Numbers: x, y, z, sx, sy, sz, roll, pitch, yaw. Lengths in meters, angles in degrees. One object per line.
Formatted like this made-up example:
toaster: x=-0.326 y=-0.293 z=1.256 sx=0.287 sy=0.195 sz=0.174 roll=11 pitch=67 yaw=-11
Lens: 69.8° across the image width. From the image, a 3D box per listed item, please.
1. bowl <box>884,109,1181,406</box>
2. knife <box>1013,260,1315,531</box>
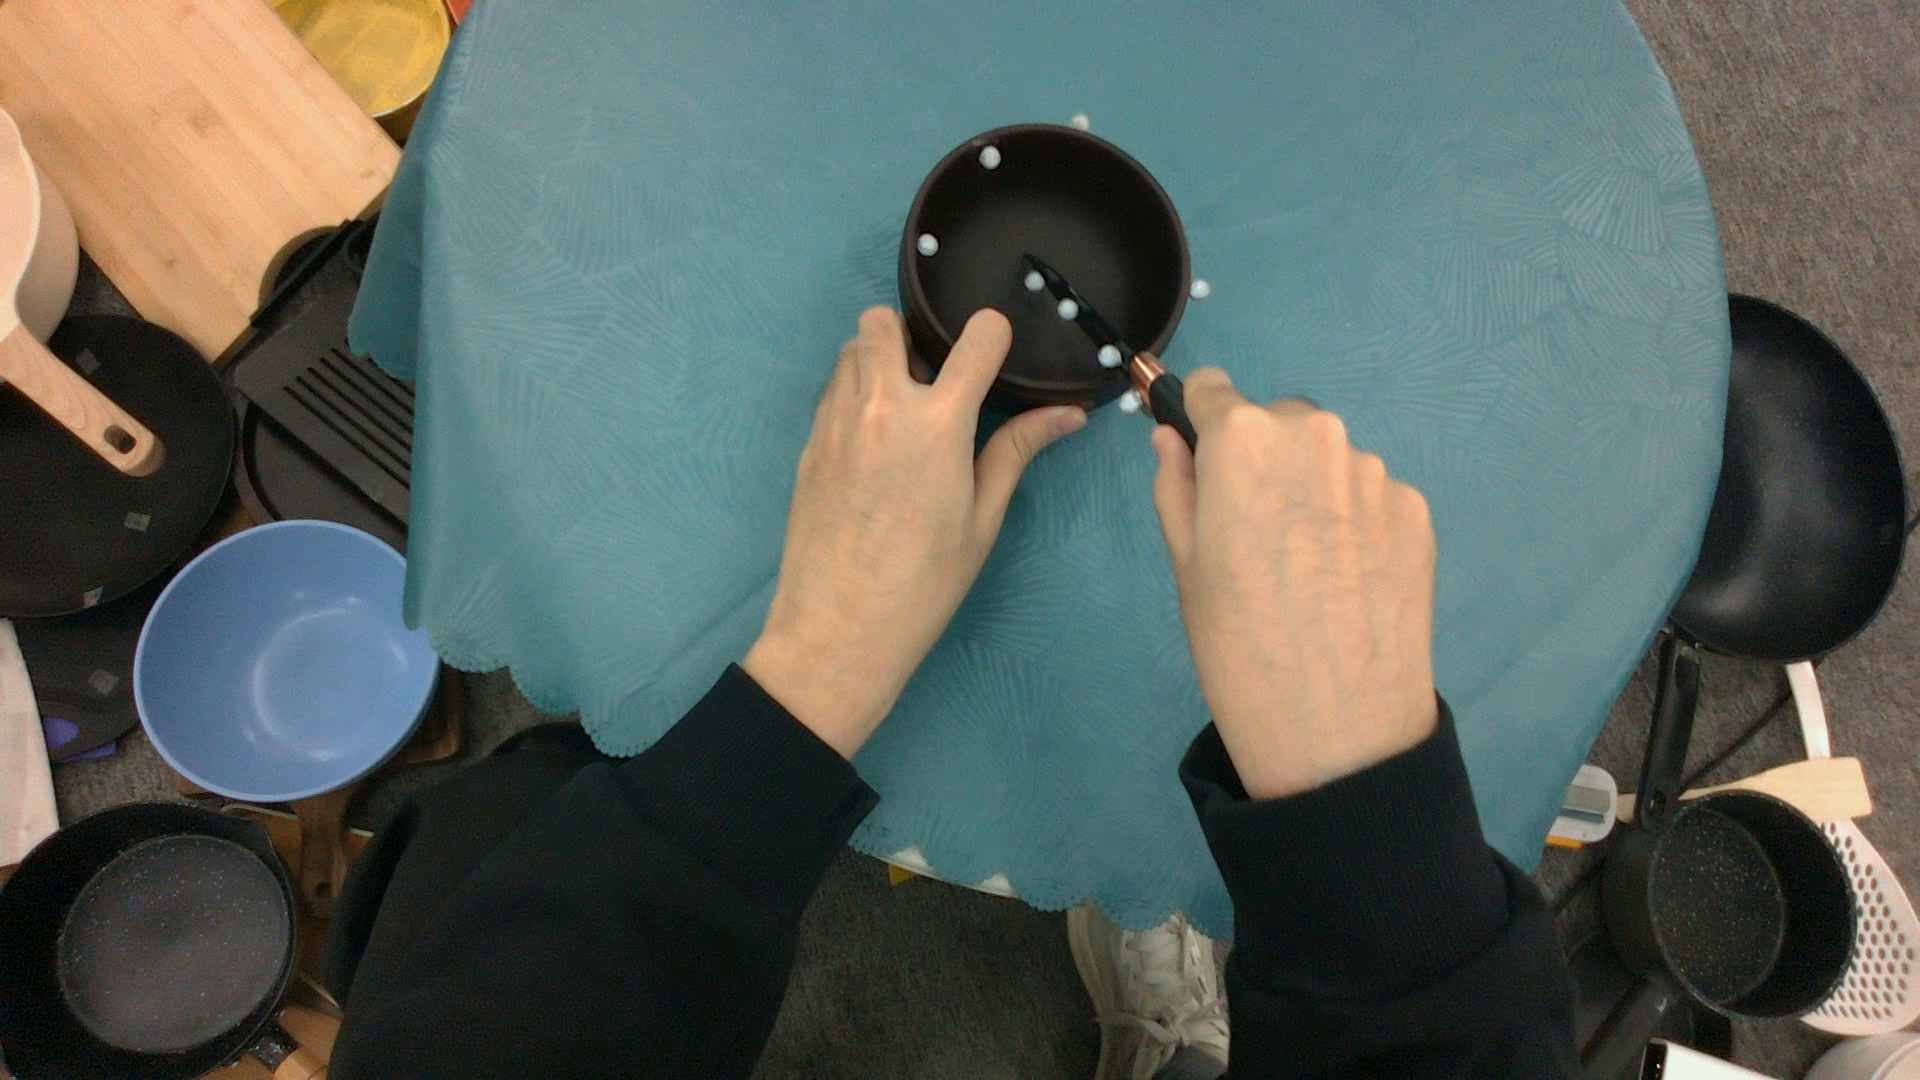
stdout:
bowl: x=0.027 y=-0.110 z=0.571 sx=0.118 sy=0.069 sz=0.118 roll=1 pitch=77 yaw=-6
knife: x=0.063 y=-0.065 z=0.509 sx=0.017 sy=0.026 sz=0.226 roll=-32 pitch=40 yaw=-3
